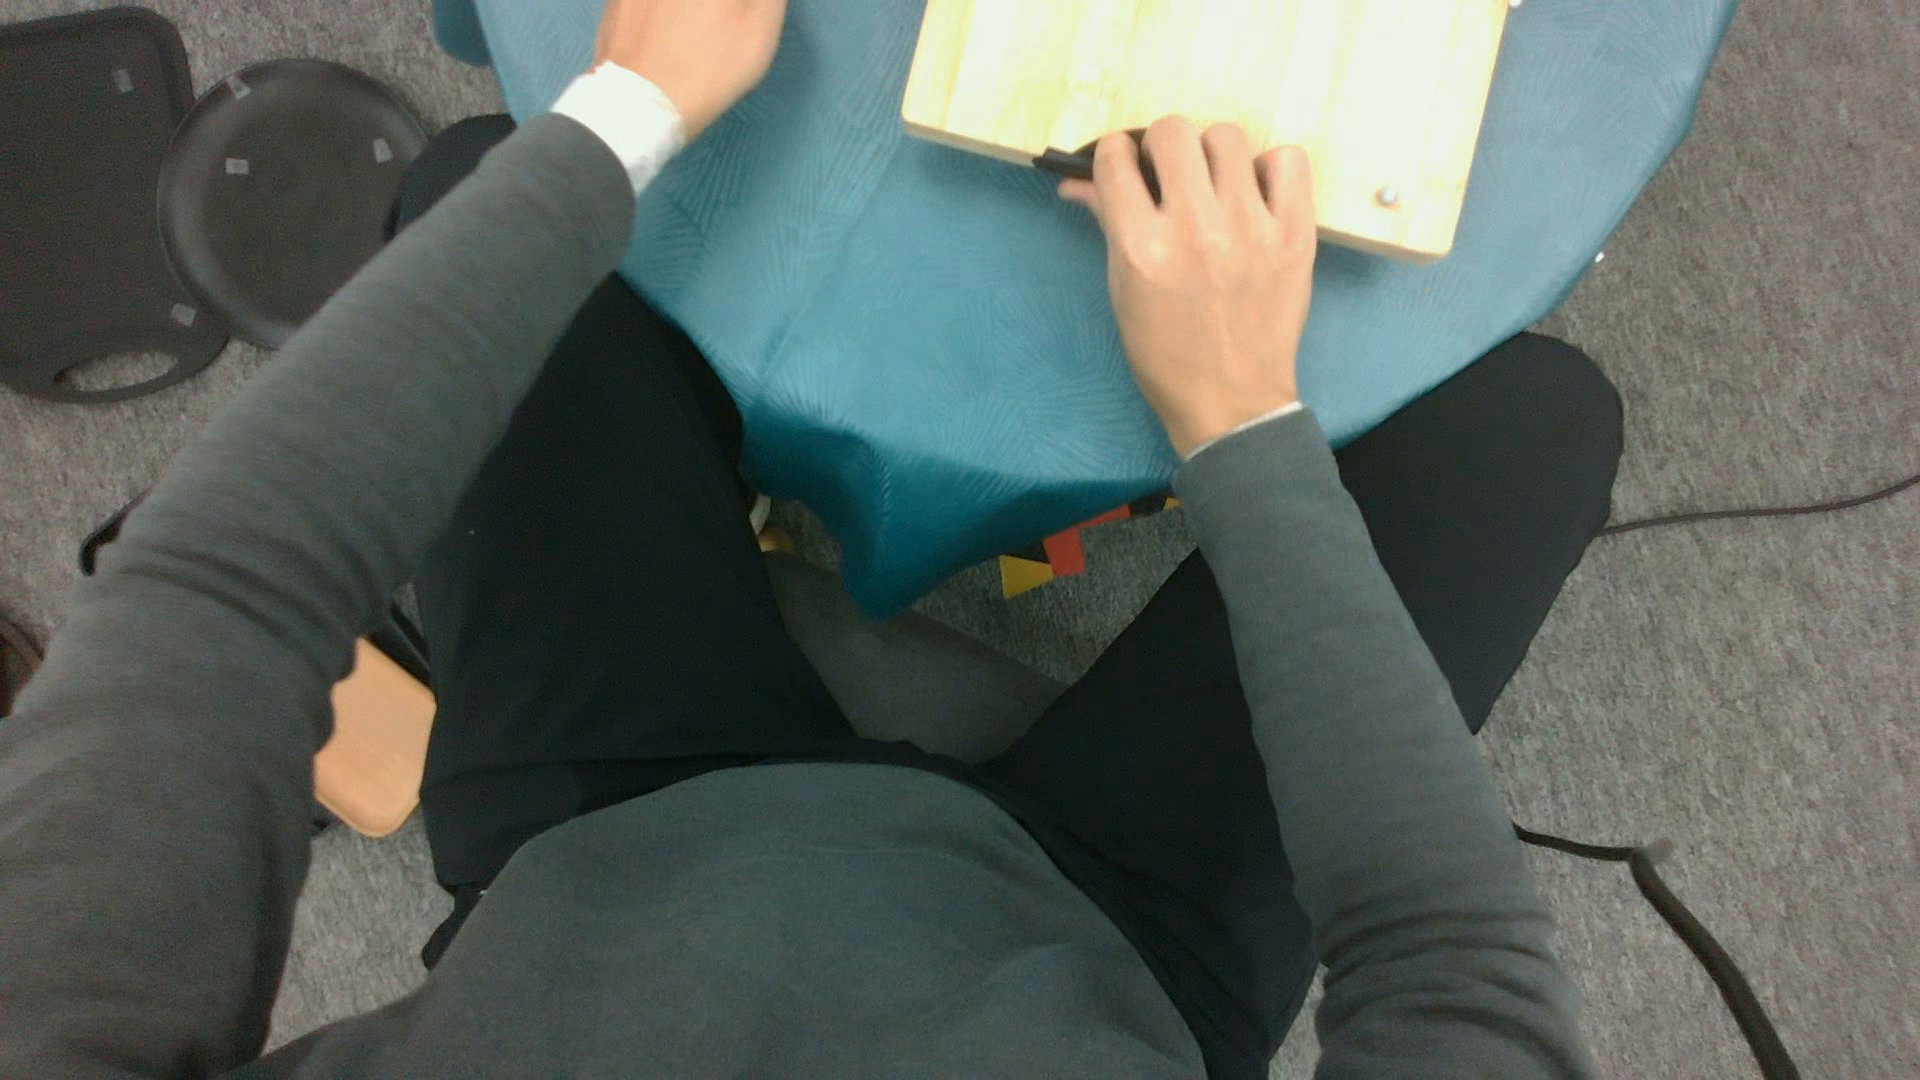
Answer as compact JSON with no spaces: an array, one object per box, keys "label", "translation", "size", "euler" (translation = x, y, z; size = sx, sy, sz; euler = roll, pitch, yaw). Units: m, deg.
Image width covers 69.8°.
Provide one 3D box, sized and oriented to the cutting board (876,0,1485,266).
[{"label":"cutting board","translation":[0.124,-0.315,0.609],"size":[0.251,0.023,0.349],"euler":[13,85,-1]}]
